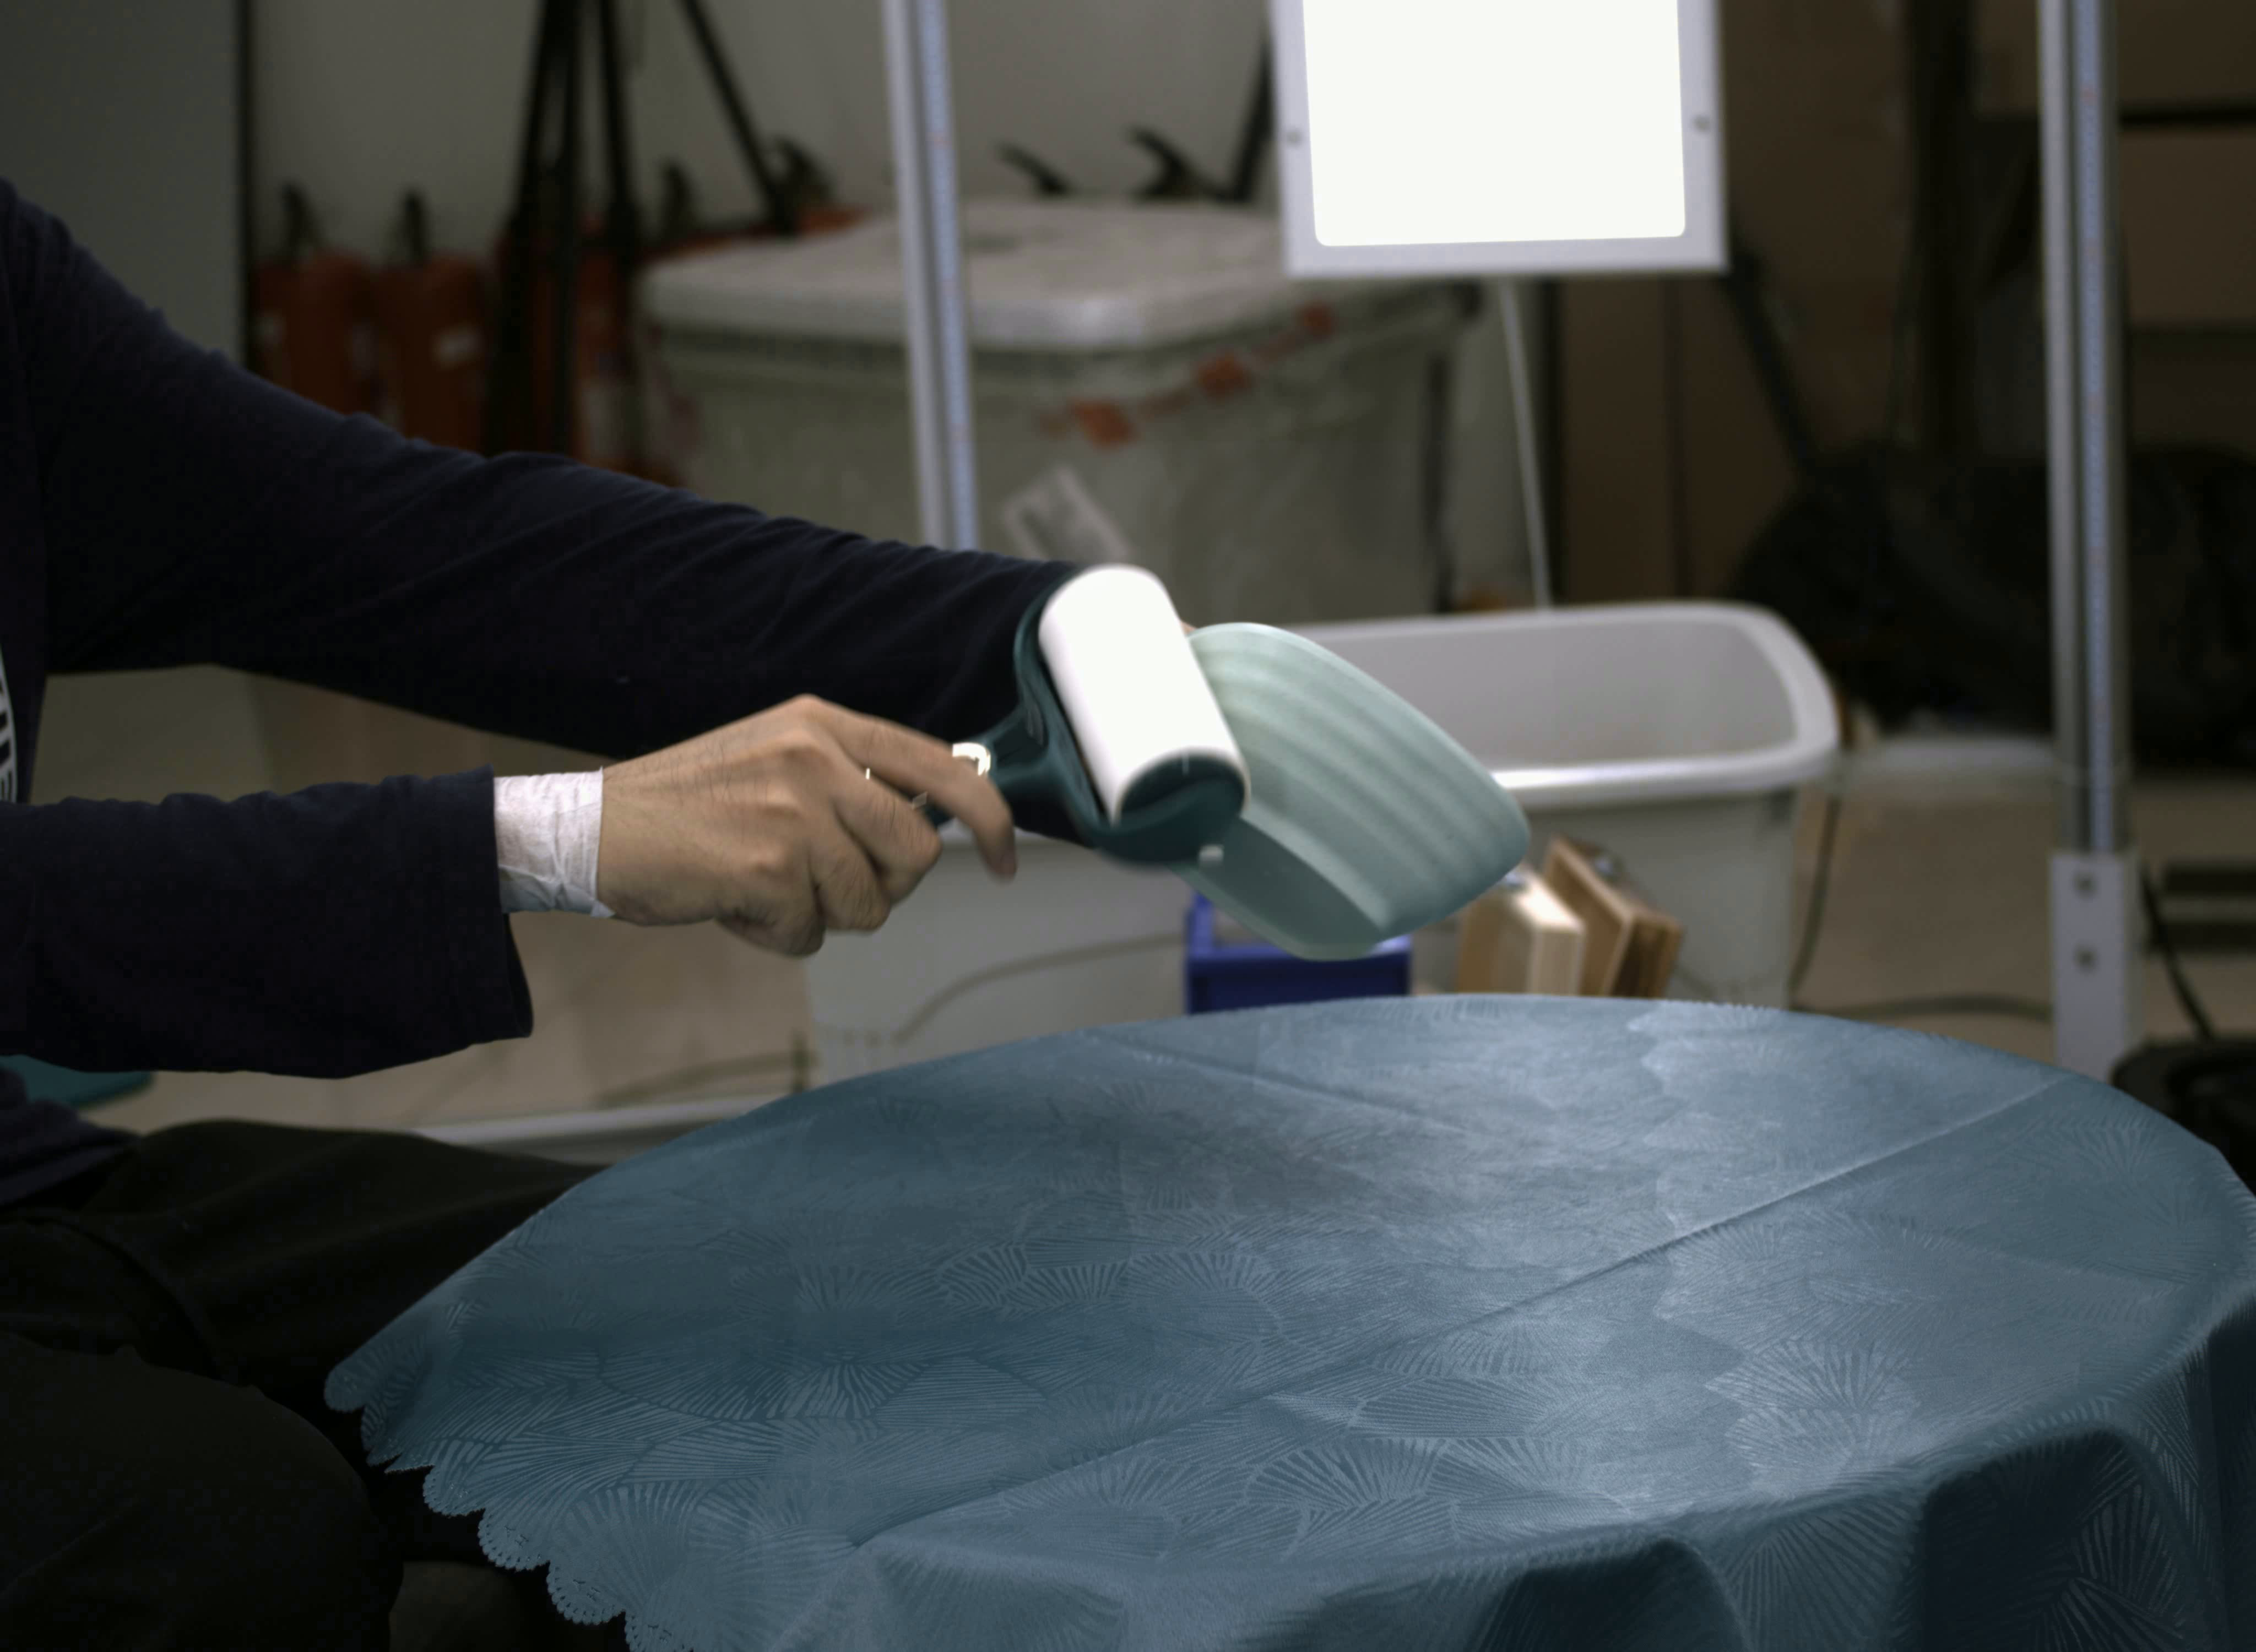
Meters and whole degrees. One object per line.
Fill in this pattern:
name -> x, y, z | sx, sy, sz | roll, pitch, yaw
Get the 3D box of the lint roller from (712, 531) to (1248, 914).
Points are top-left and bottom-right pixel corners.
lint roller -> -0.058, -0.022, 1.824 | 0.179, 0.048, 0.135 | -20, 40, -1

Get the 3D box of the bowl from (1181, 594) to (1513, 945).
bowl -> 0.058, -0.010, 1.878 | 0.058, 0.150, 0.154 | -47, 28, -14
